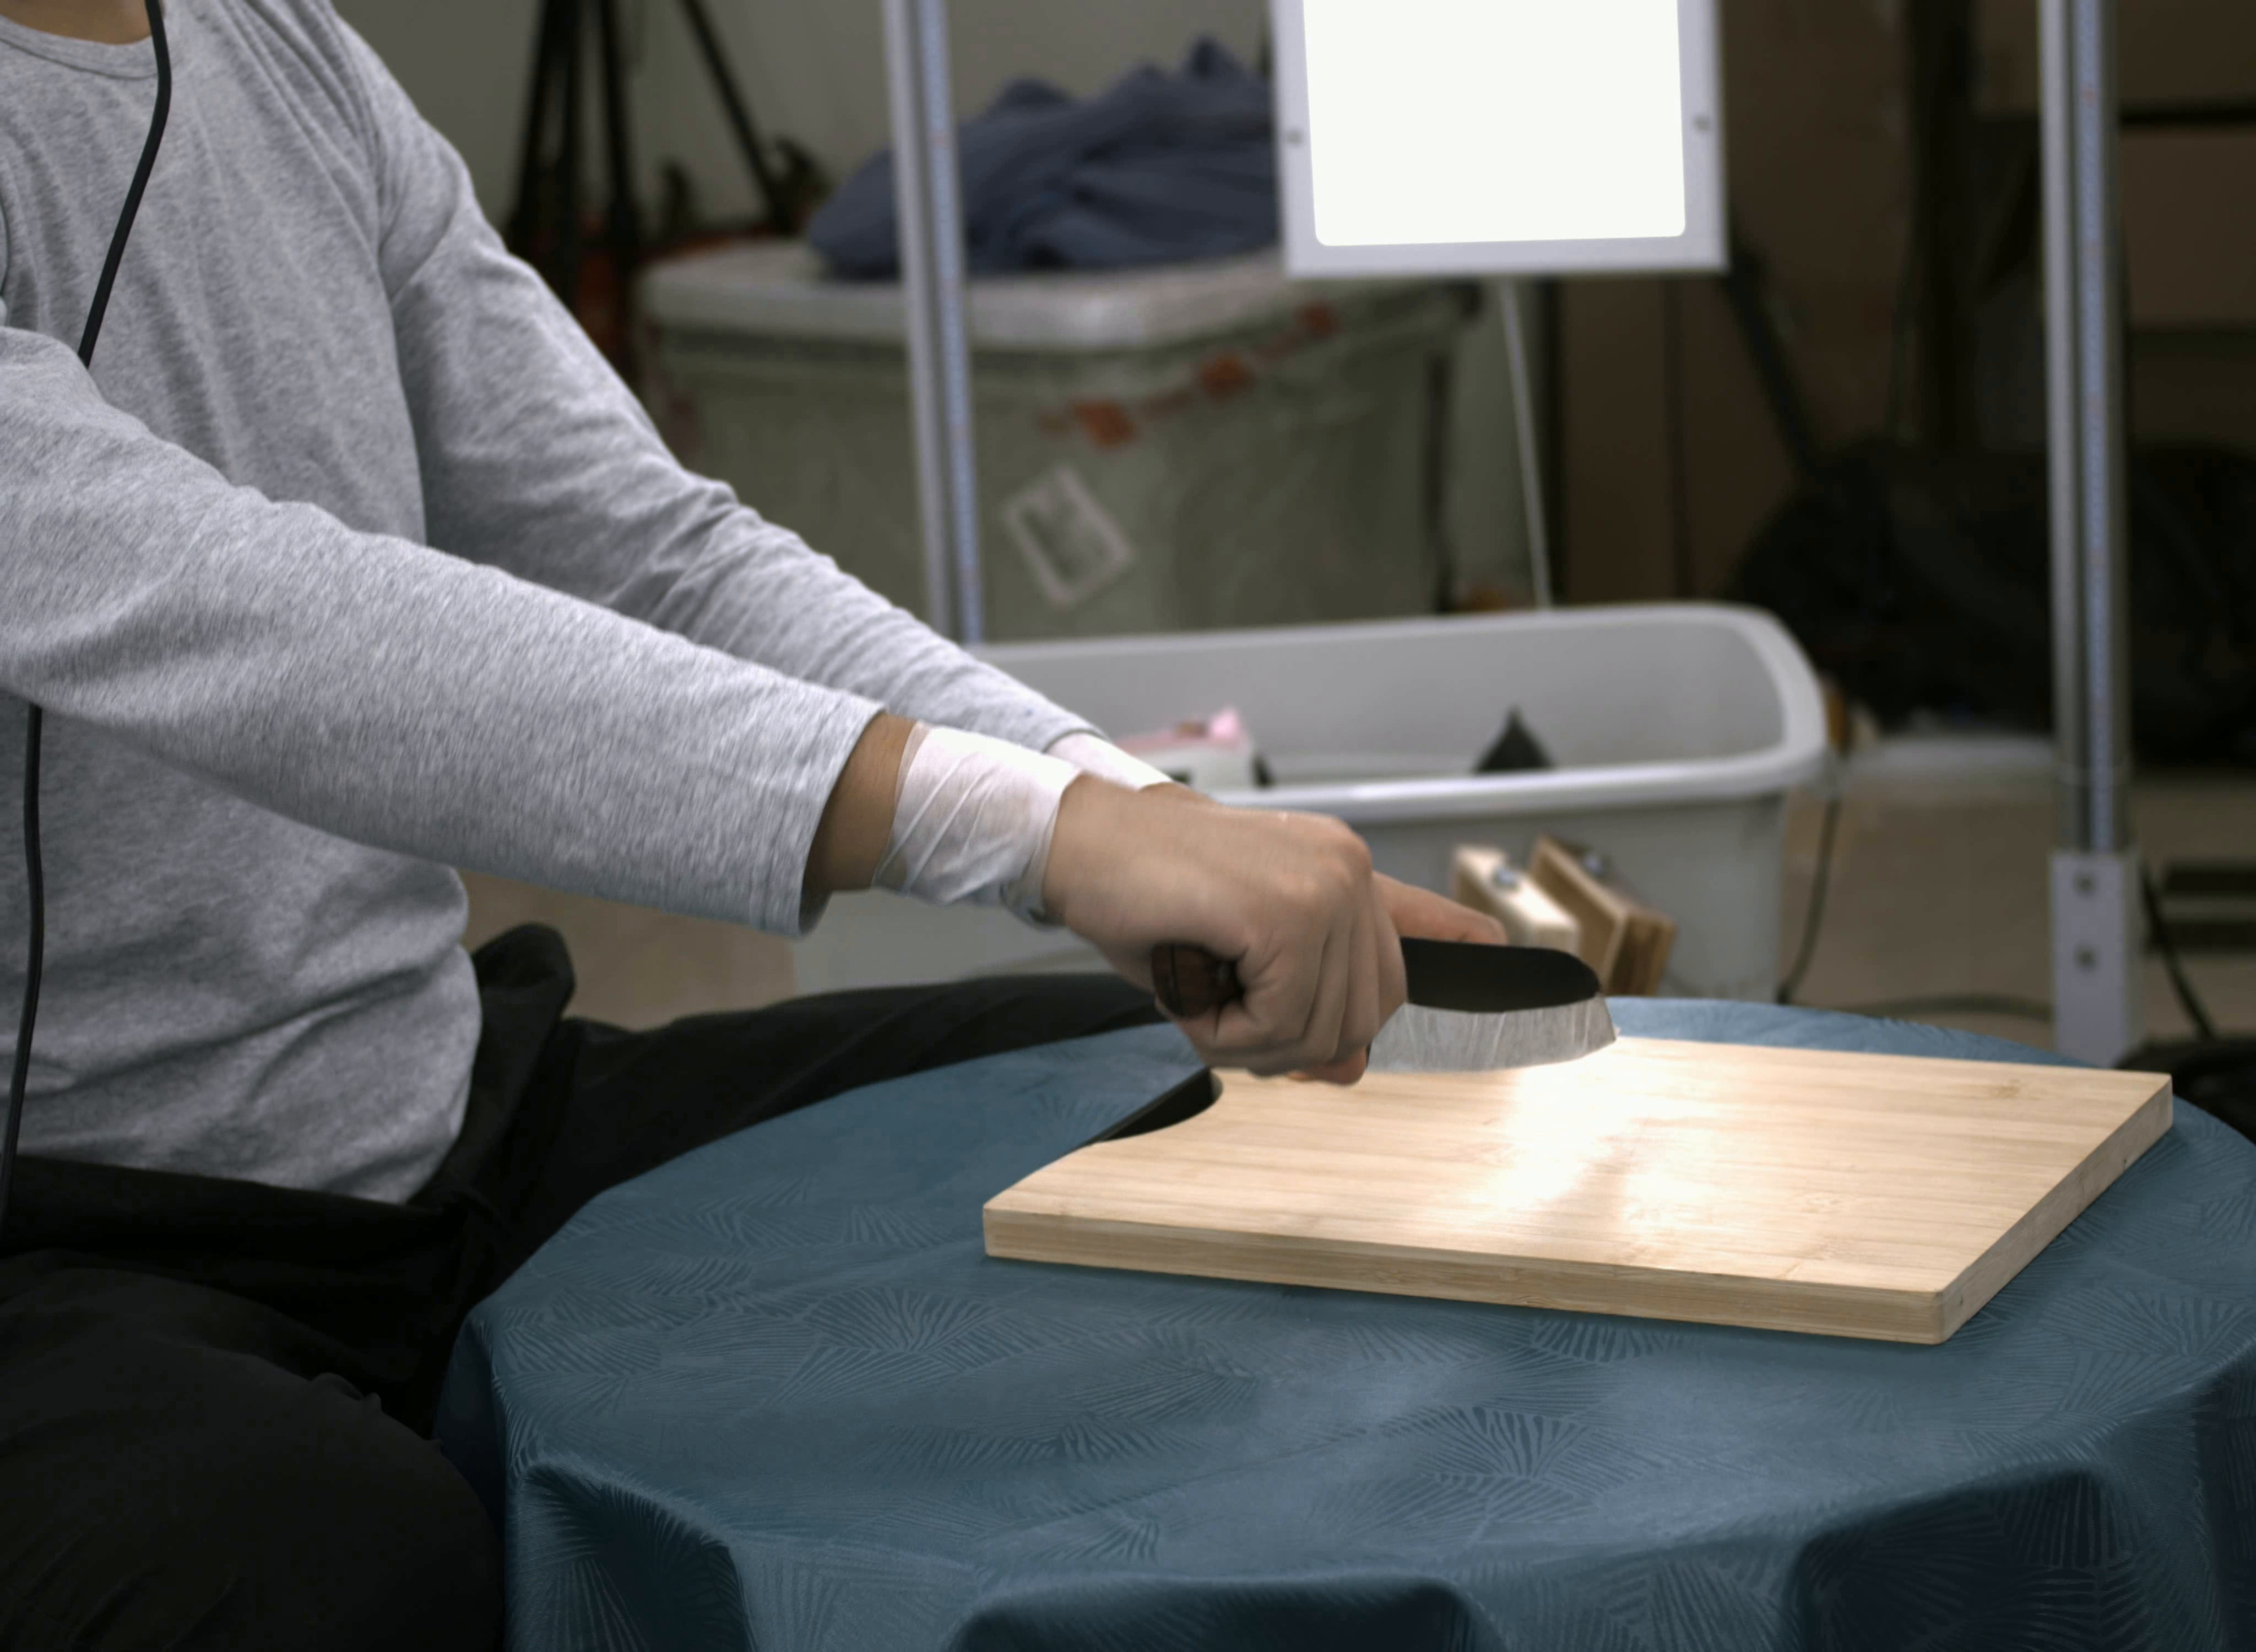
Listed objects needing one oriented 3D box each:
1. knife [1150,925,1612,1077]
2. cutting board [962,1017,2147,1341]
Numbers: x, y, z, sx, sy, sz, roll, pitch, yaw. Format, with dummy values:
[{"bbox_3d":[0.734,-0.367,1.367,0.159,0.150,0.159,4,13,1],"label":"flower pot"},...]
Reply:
[{"bbox_3d":[0.090,0.056,1.772,0.020,0.050,0.282,9,0,34],"label":"knife"},{"bbox_3d":[0.150,0.115,1.863,0.355,0.023,0.245,2,15,29],"label":"cutting board"}]
